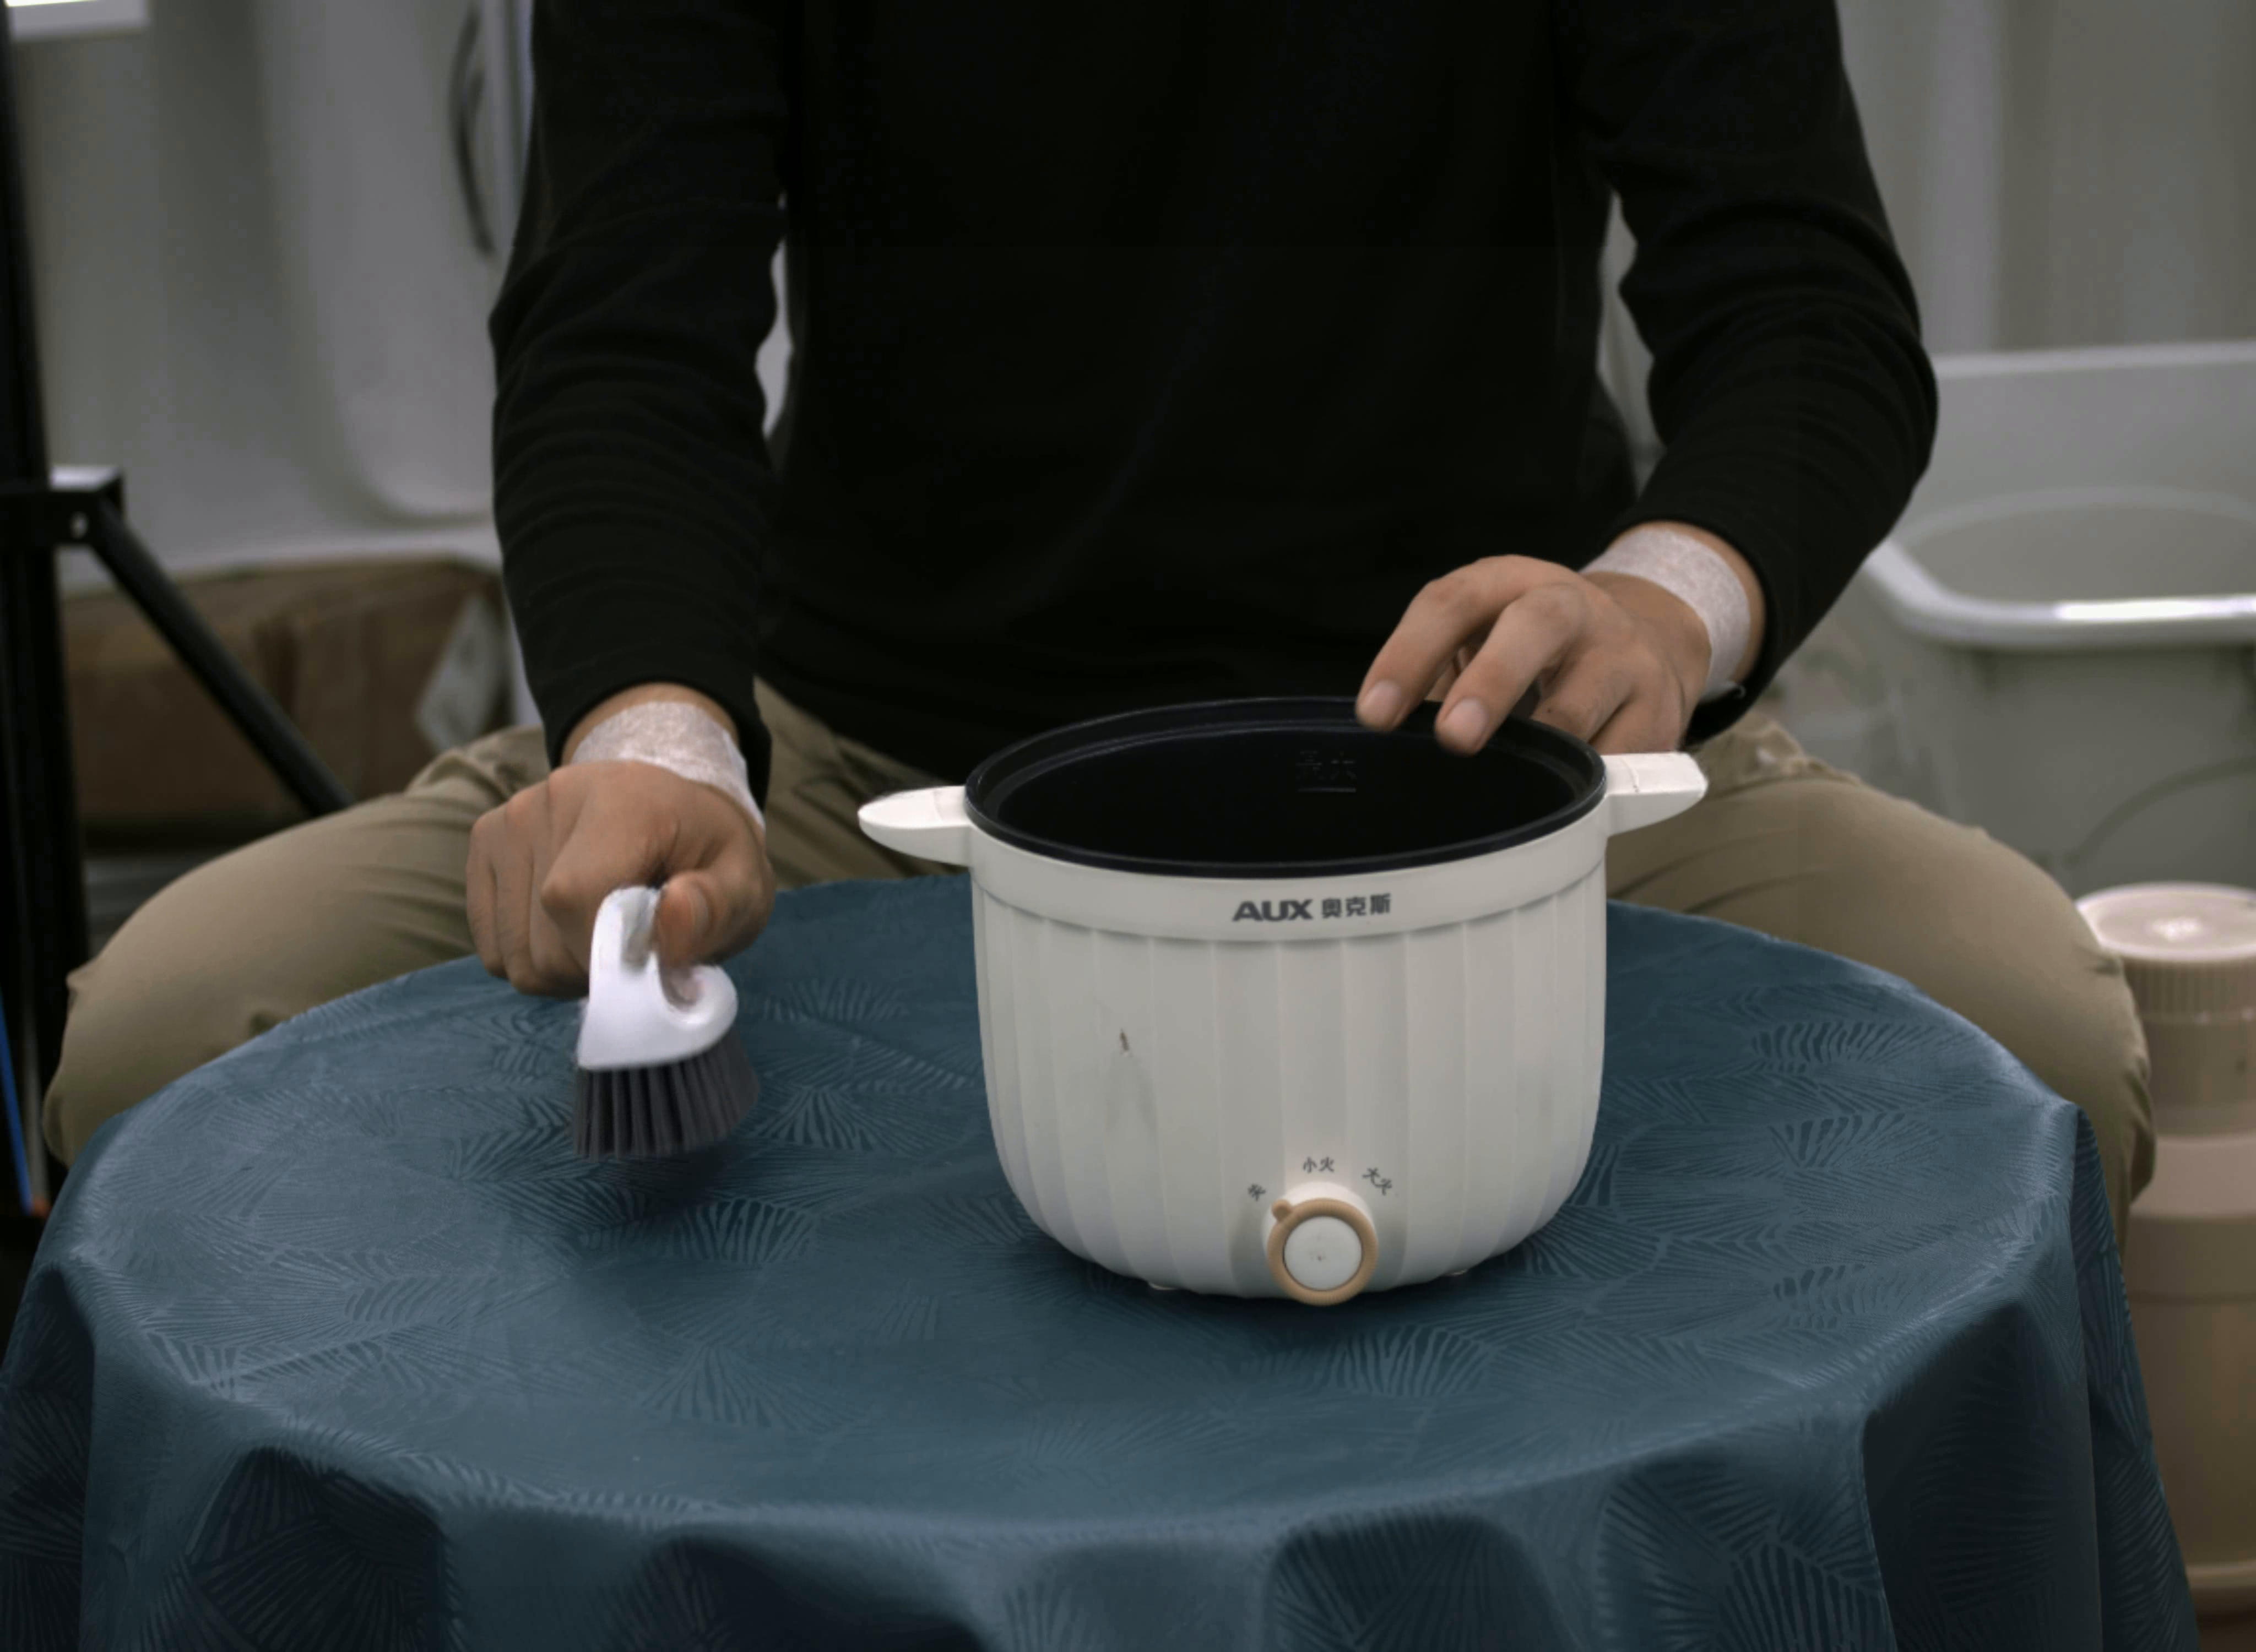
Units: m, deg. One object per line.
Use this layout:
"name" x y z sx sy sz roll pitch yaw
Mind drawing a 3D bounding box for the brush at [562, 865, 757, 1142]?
"brush" -0.141 0.049 1.571 0.050 0.072 0.099 -8 7 5

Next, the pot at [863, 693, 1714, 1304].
"pot" 0.049 0.051 1.498 0.239 0.143 0.191 -4 13 -1
